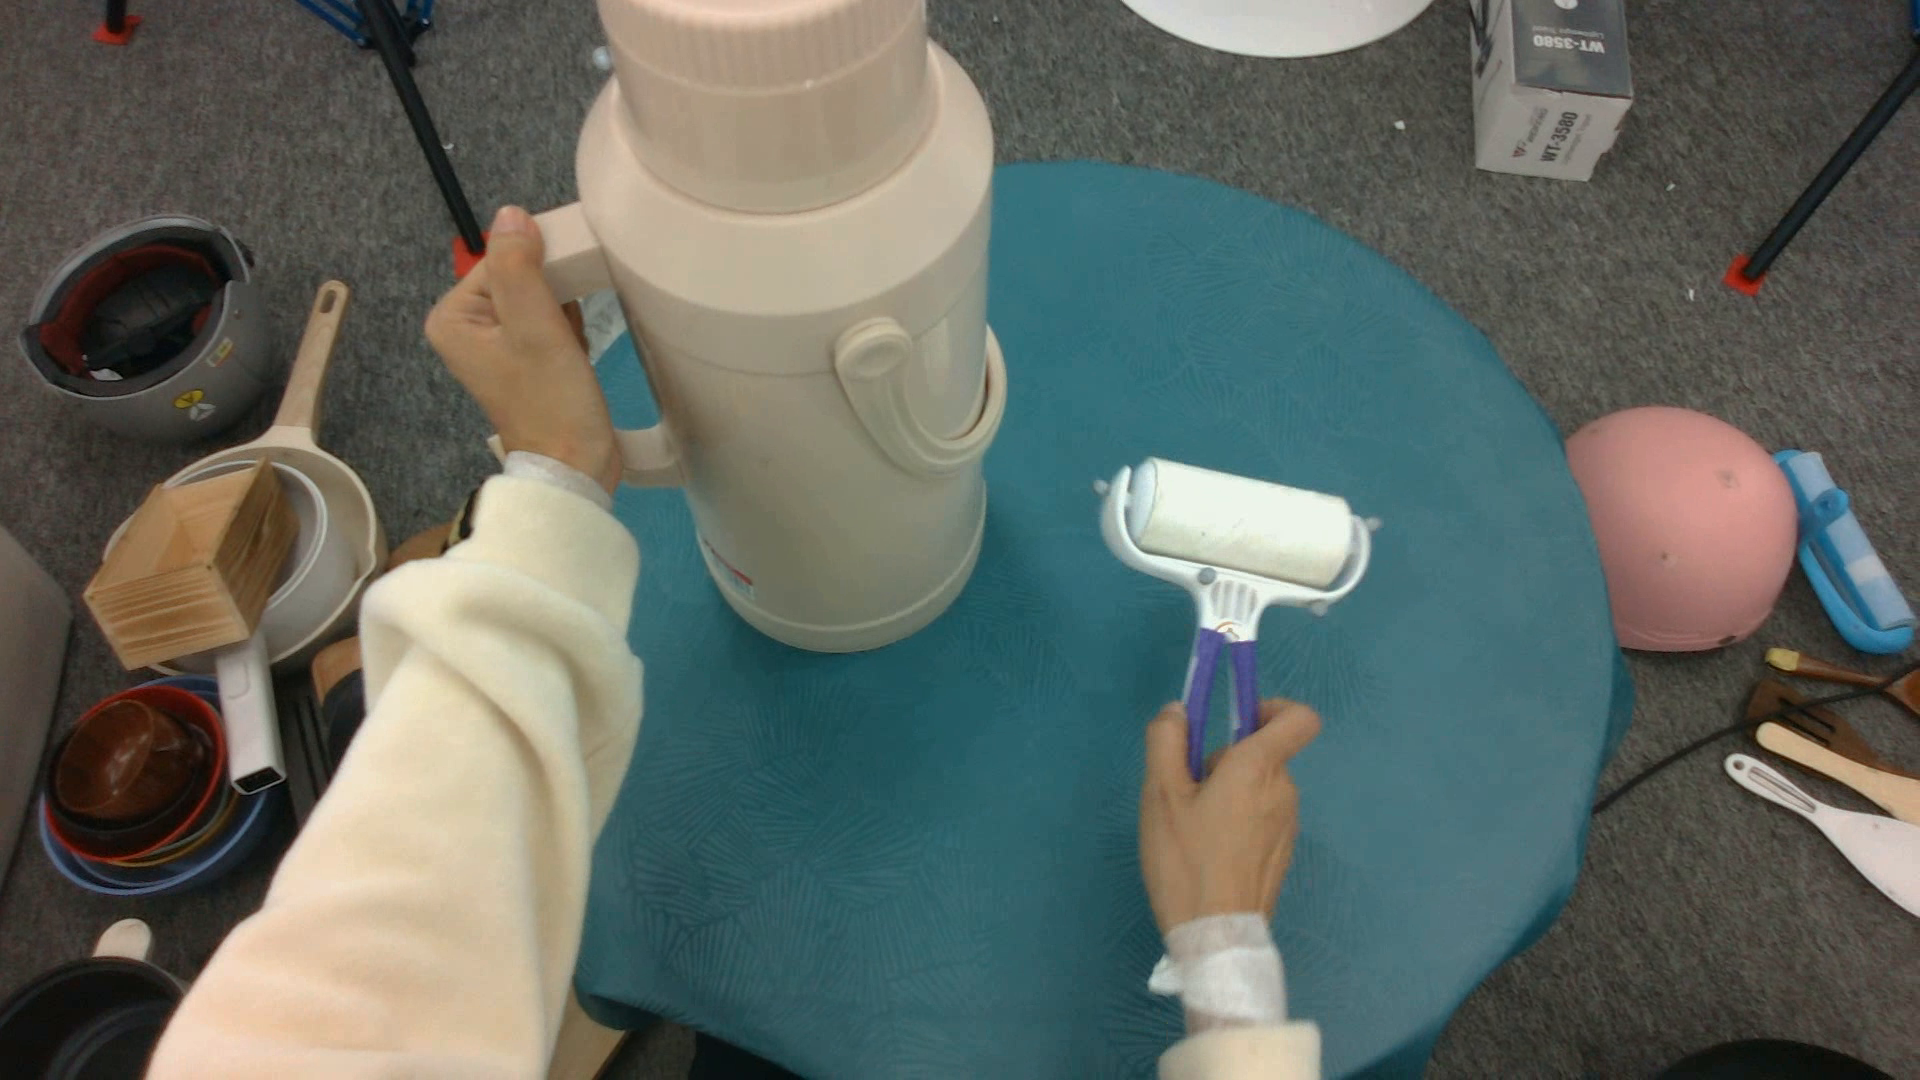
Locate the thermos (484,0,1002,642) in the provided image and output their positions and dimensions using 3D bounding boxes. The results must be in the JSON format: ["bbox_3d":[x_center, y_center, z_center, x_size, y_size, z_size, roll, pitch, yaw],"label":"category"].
[{"bbox_3d":[-0.081,-0.102,0.603,0.207,0.404,0.175,-22,65,-11],"label":"thermos"}]

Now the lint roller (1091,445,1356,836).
[{"bbox_3d":[0.122,0.044,0.640,0.133,0.050,0.181,15,59,-13],"label":"lint roller"}]
